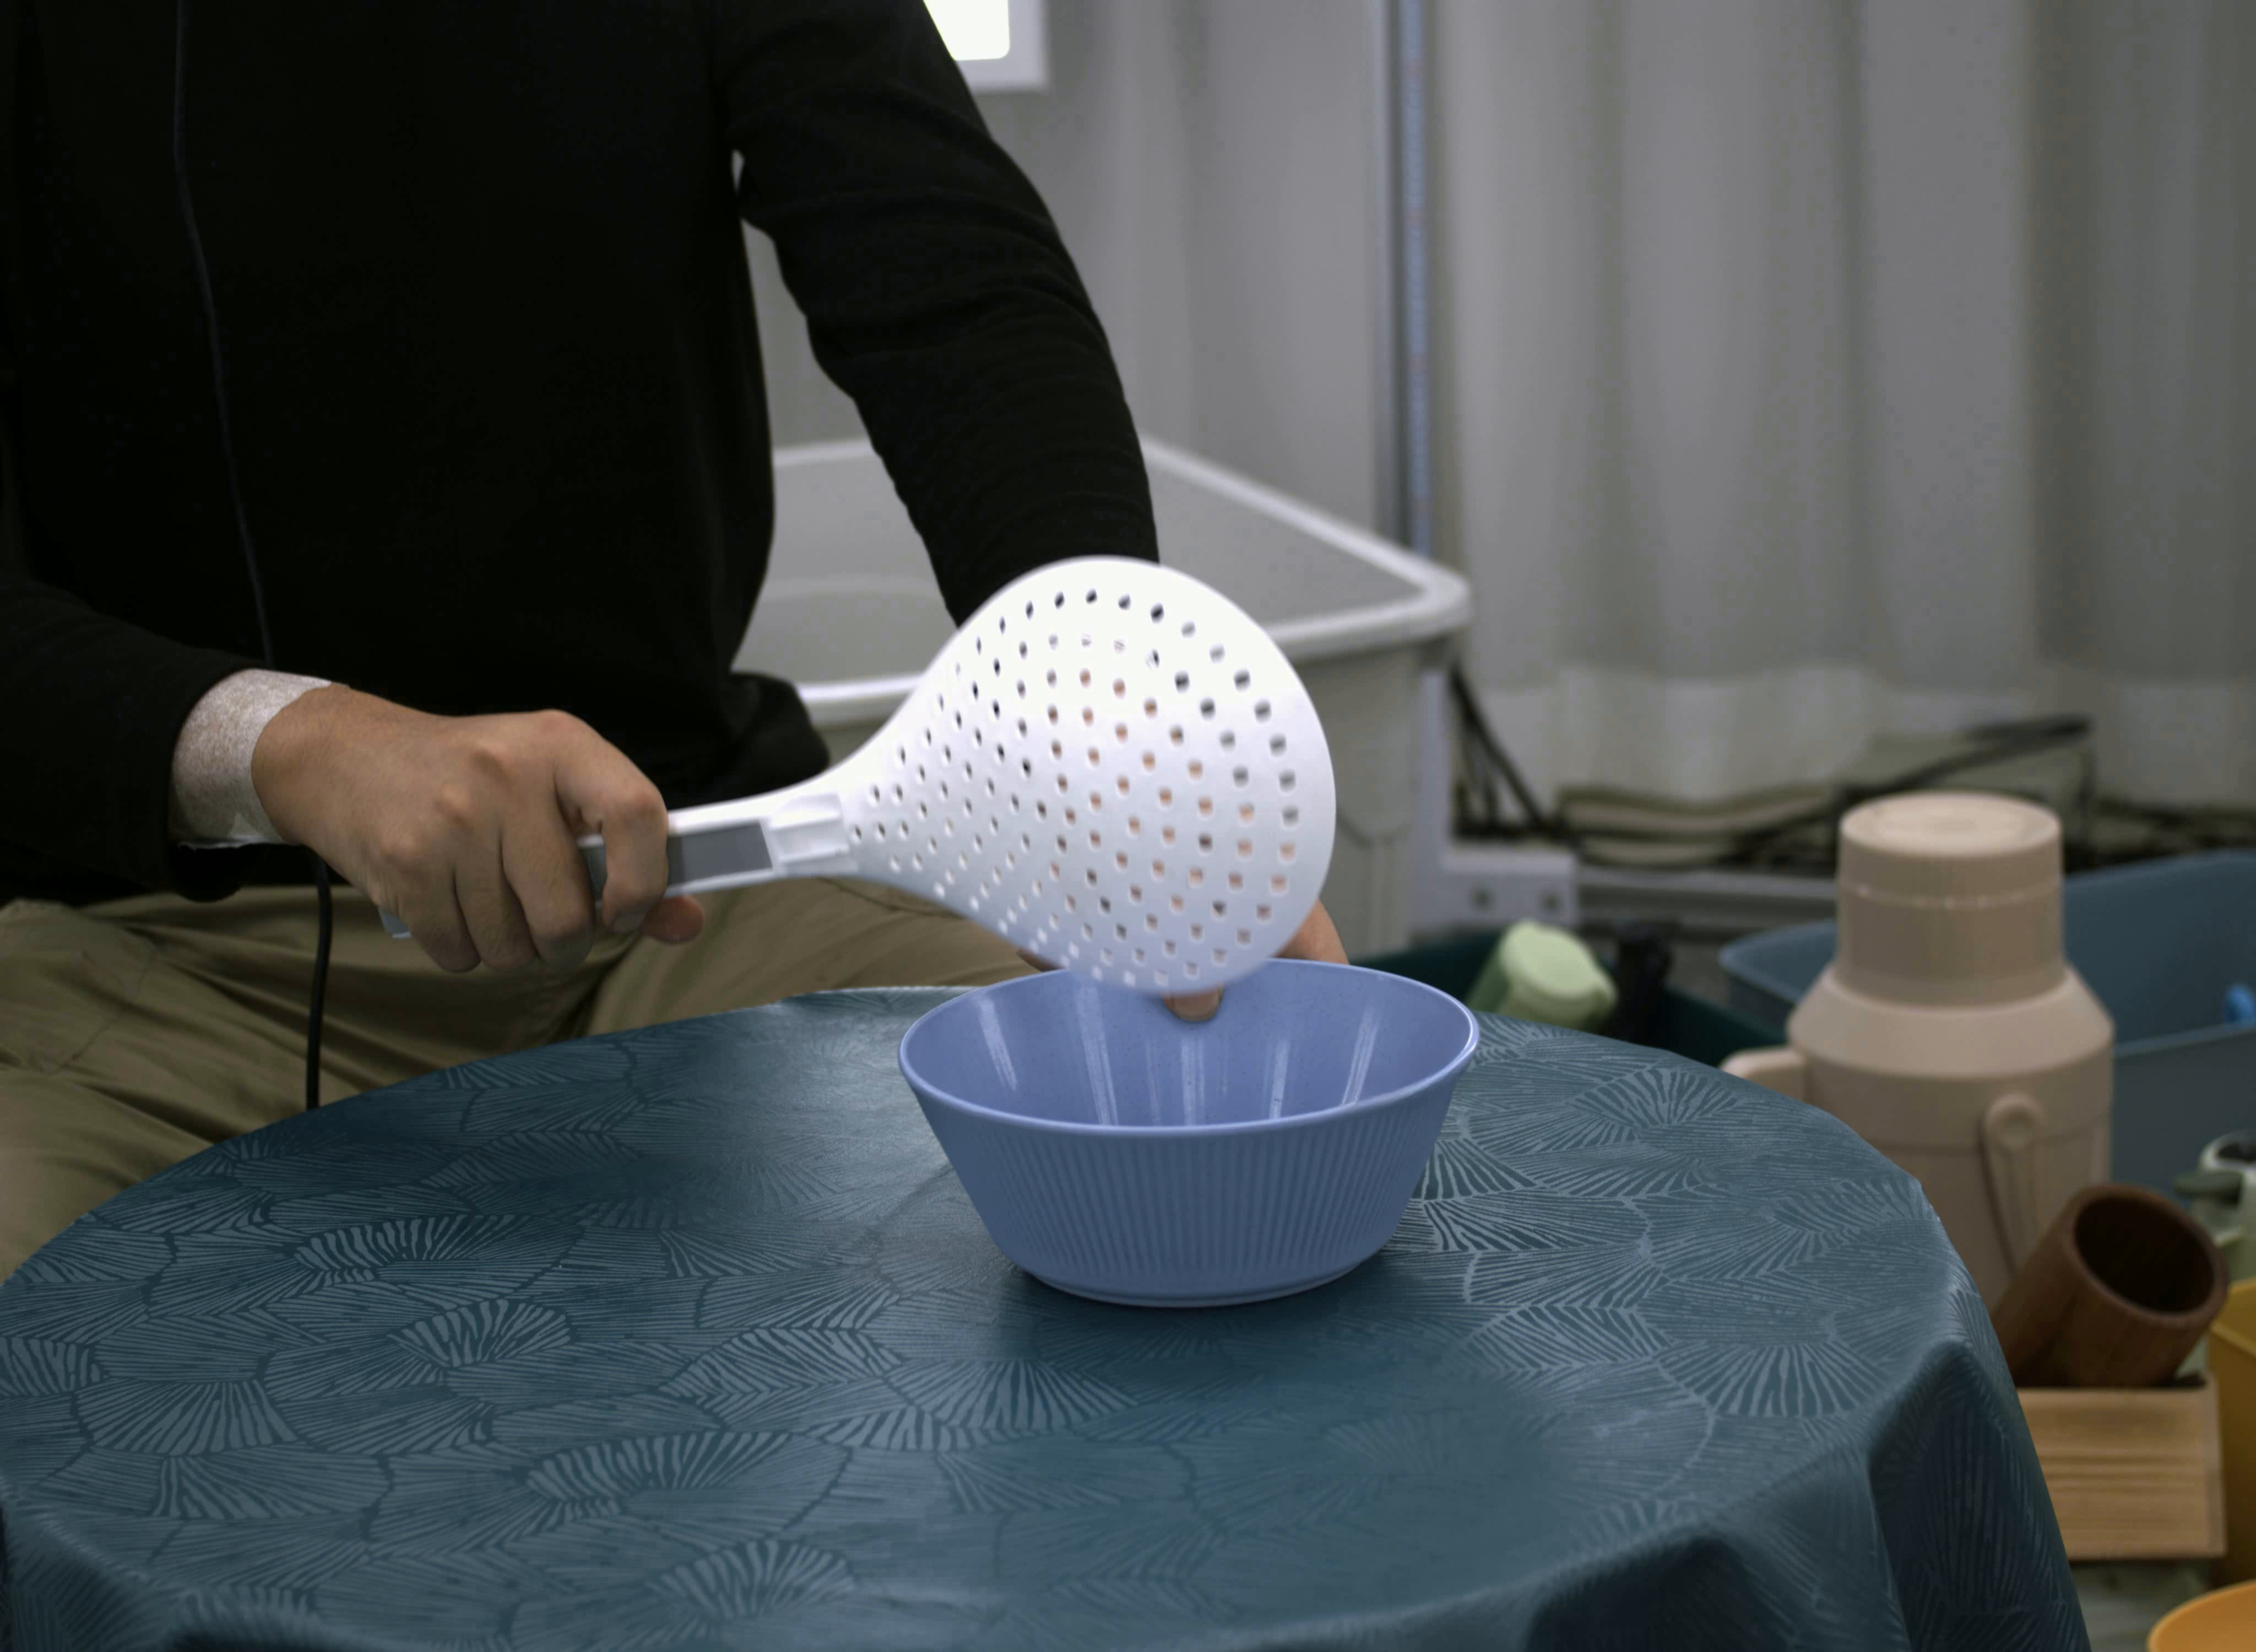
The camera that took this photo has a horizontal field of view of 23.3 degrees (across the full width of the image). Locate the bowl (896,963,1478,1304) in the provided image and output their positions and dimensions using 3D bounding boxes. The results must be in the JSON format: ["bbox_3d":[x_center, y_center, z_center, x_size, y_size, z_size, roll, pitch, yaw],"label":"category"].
[{"bbox_3d":[0.019,0.095,1.649,0.175,0.070,0.177,-3,13,0],"label":"bowl"}]

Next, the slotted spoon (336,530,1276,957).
[{"bbox_3d":[-0.110,-0.006,1.697,0.350,0.135,0.046,-9,14,37],"label":"slotted spoon"}]
